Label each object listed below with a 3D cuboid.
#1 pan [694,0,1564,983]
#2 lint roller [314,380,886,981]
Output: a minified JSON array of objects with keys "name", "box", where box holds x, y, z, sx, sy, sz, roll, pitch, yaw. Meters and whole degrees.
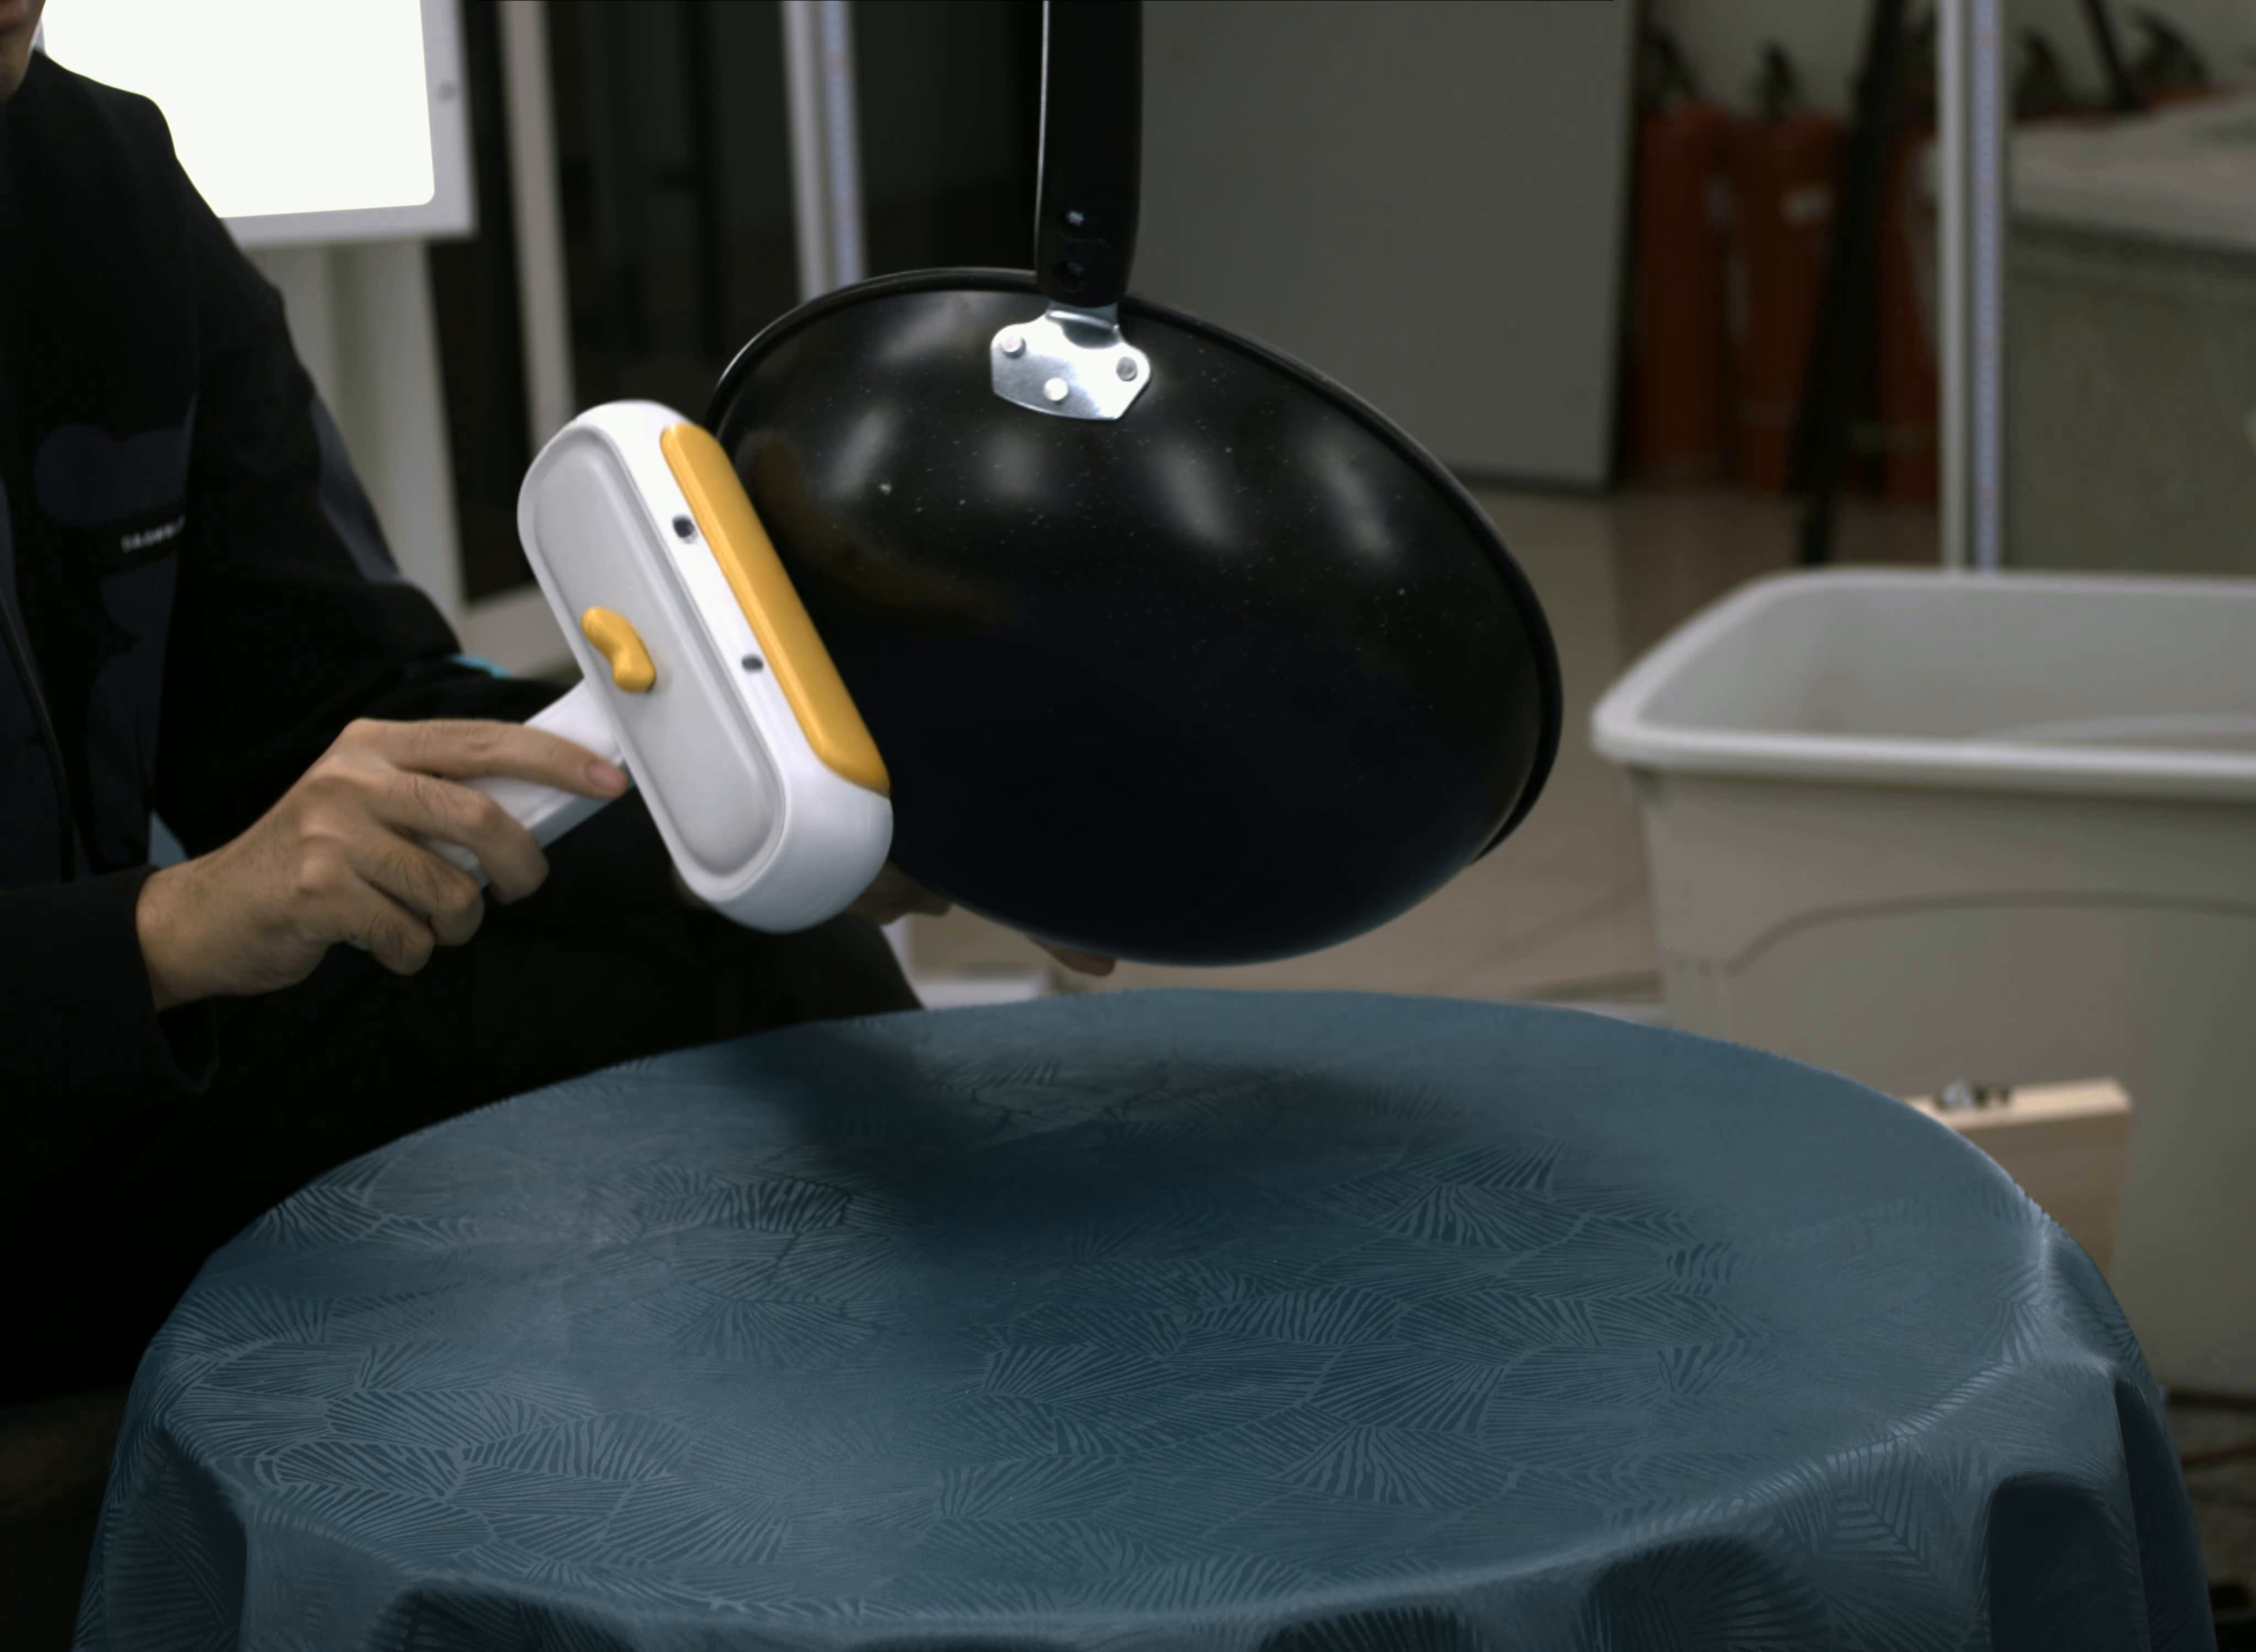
[{"name":"pan","box":[-0.015,-0.105,1.731,0.309,0.478,0.112,13,53,15]},{"name":"lint roller","box":[-0.184,-0.021,1.758,0.193,0.195,0.073,-44,-26,21]}]
